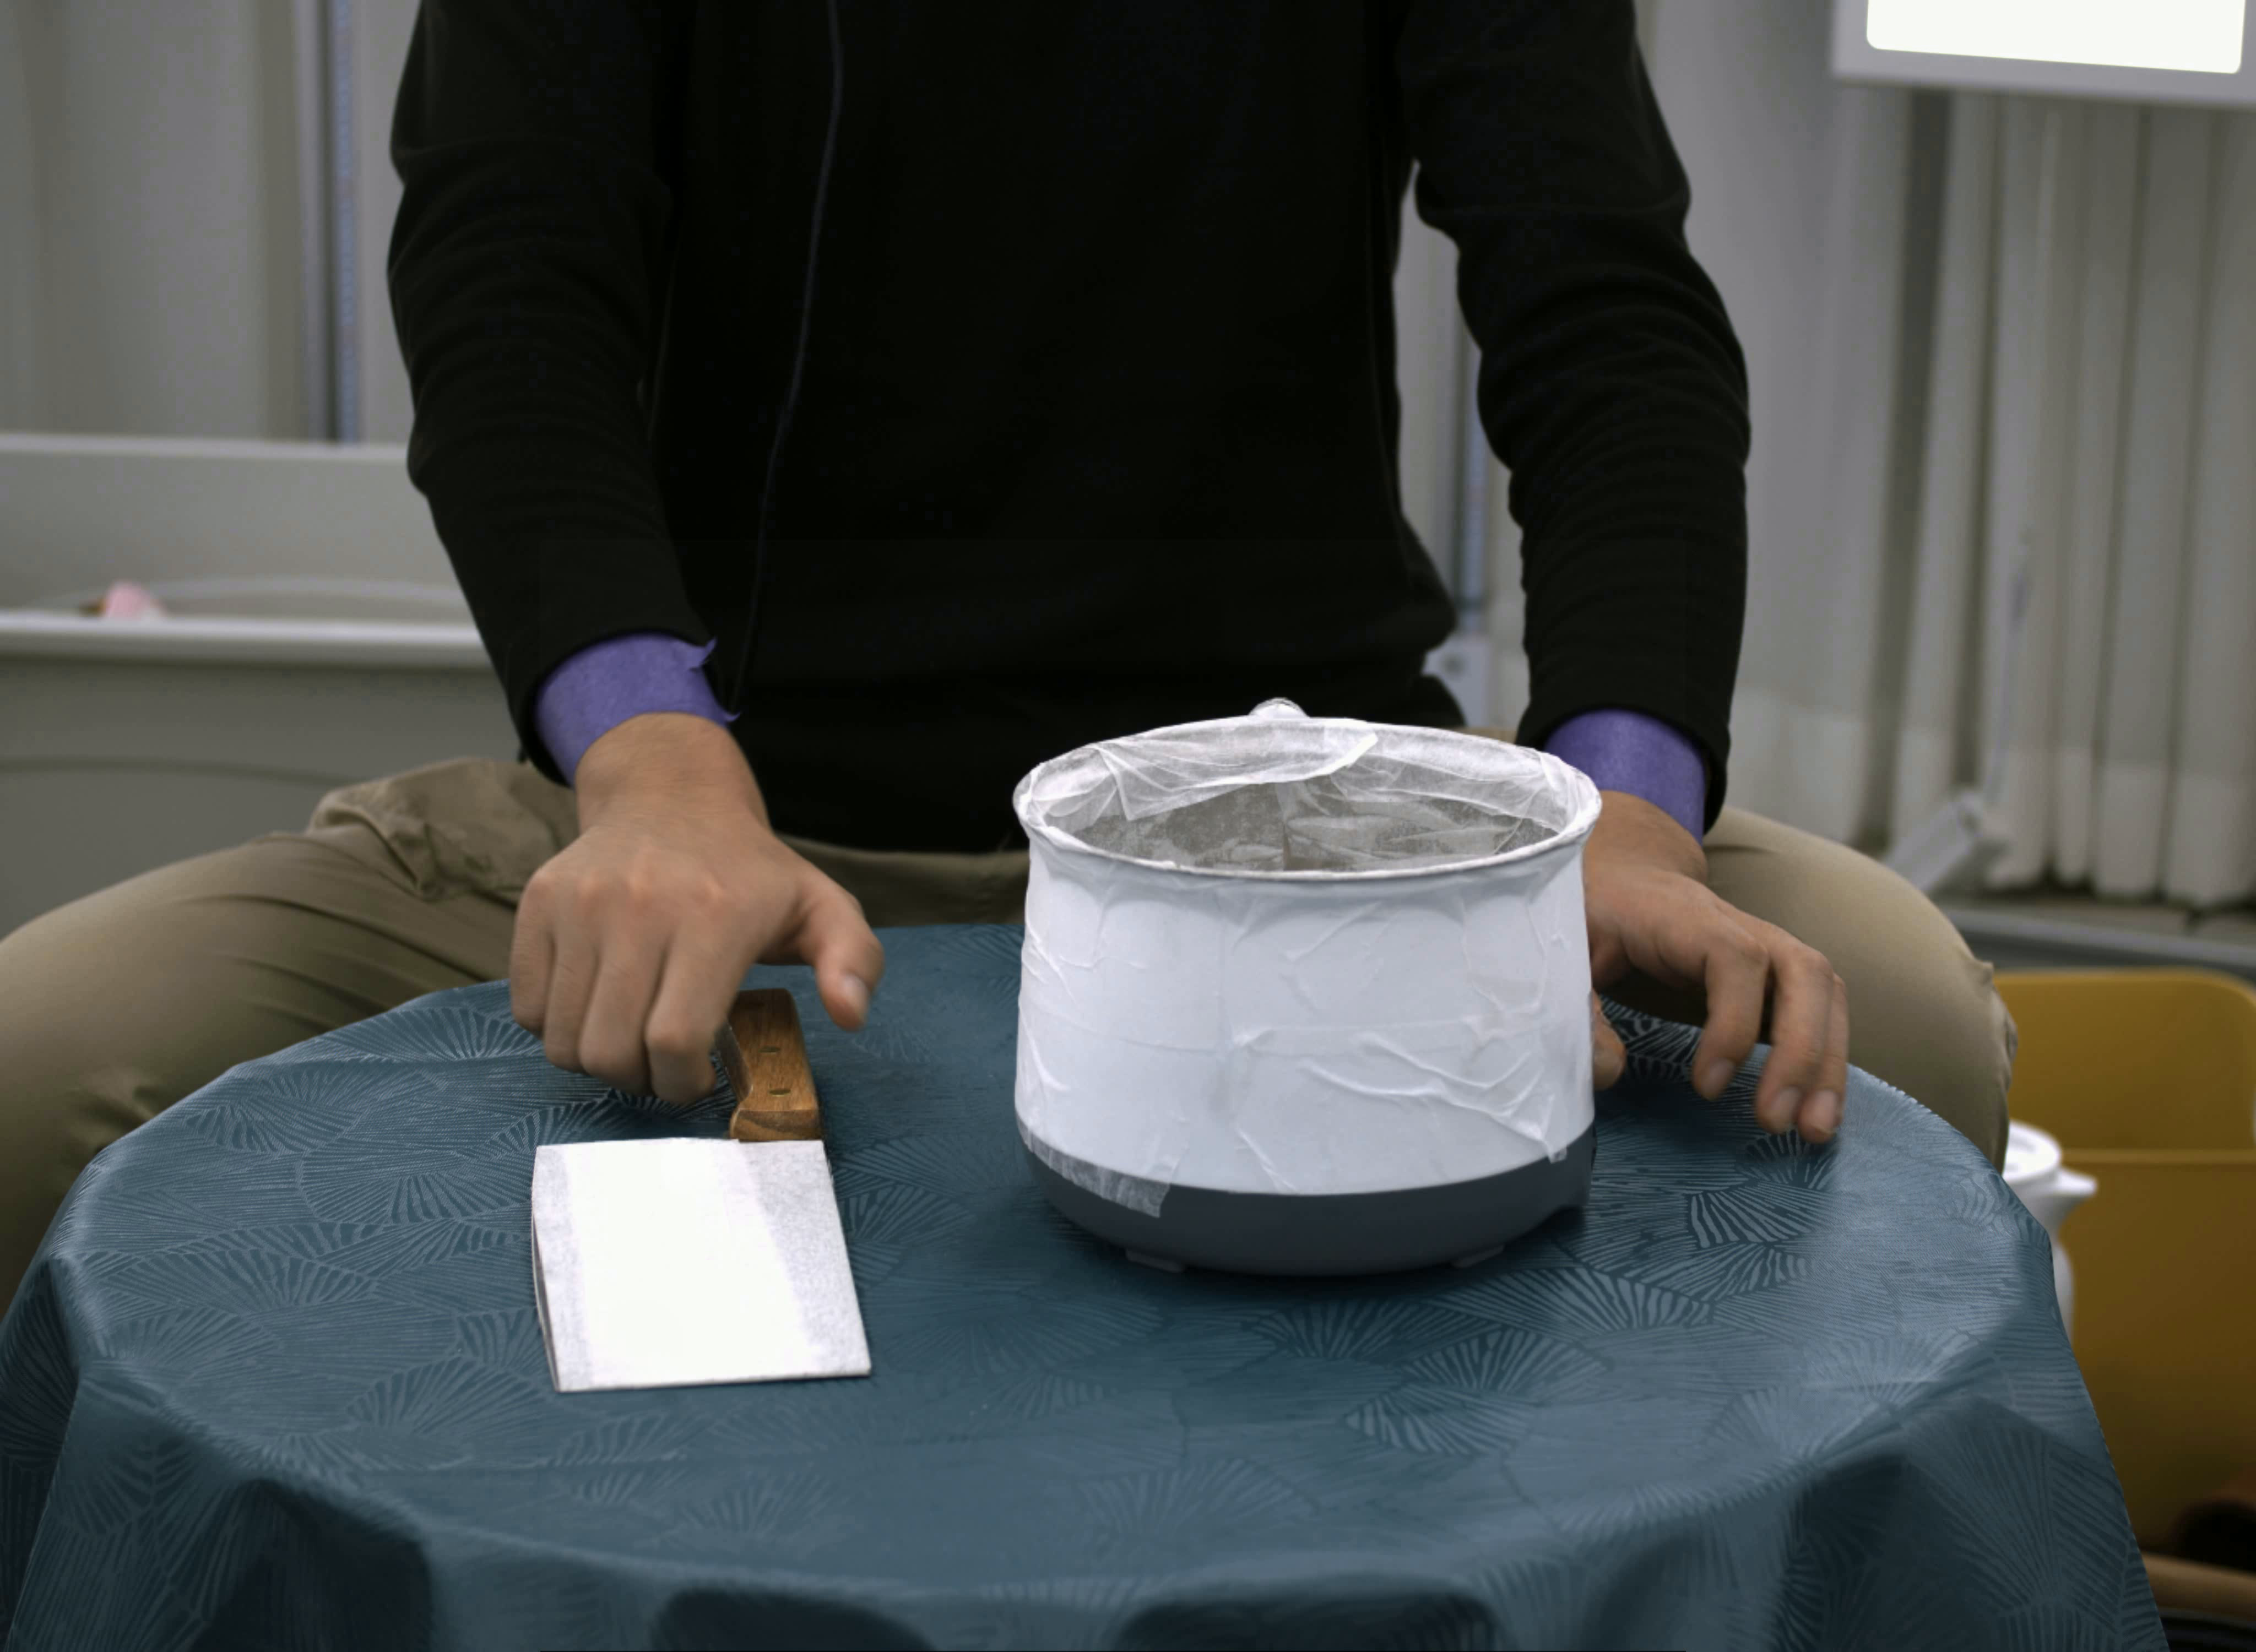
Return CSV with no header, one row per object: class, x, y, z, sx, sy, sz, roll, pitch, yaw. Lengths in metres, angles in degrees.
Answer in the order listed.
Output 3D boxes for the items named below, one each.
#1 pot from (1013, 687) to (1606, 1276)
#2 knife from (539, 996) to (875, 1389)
pot,0.051,0.042,1.614,0.178,0.138,0.232,0,17,-5
knife,-0.132,0.109,1.604,0.093,0.021,0.303,-1,17,-7
